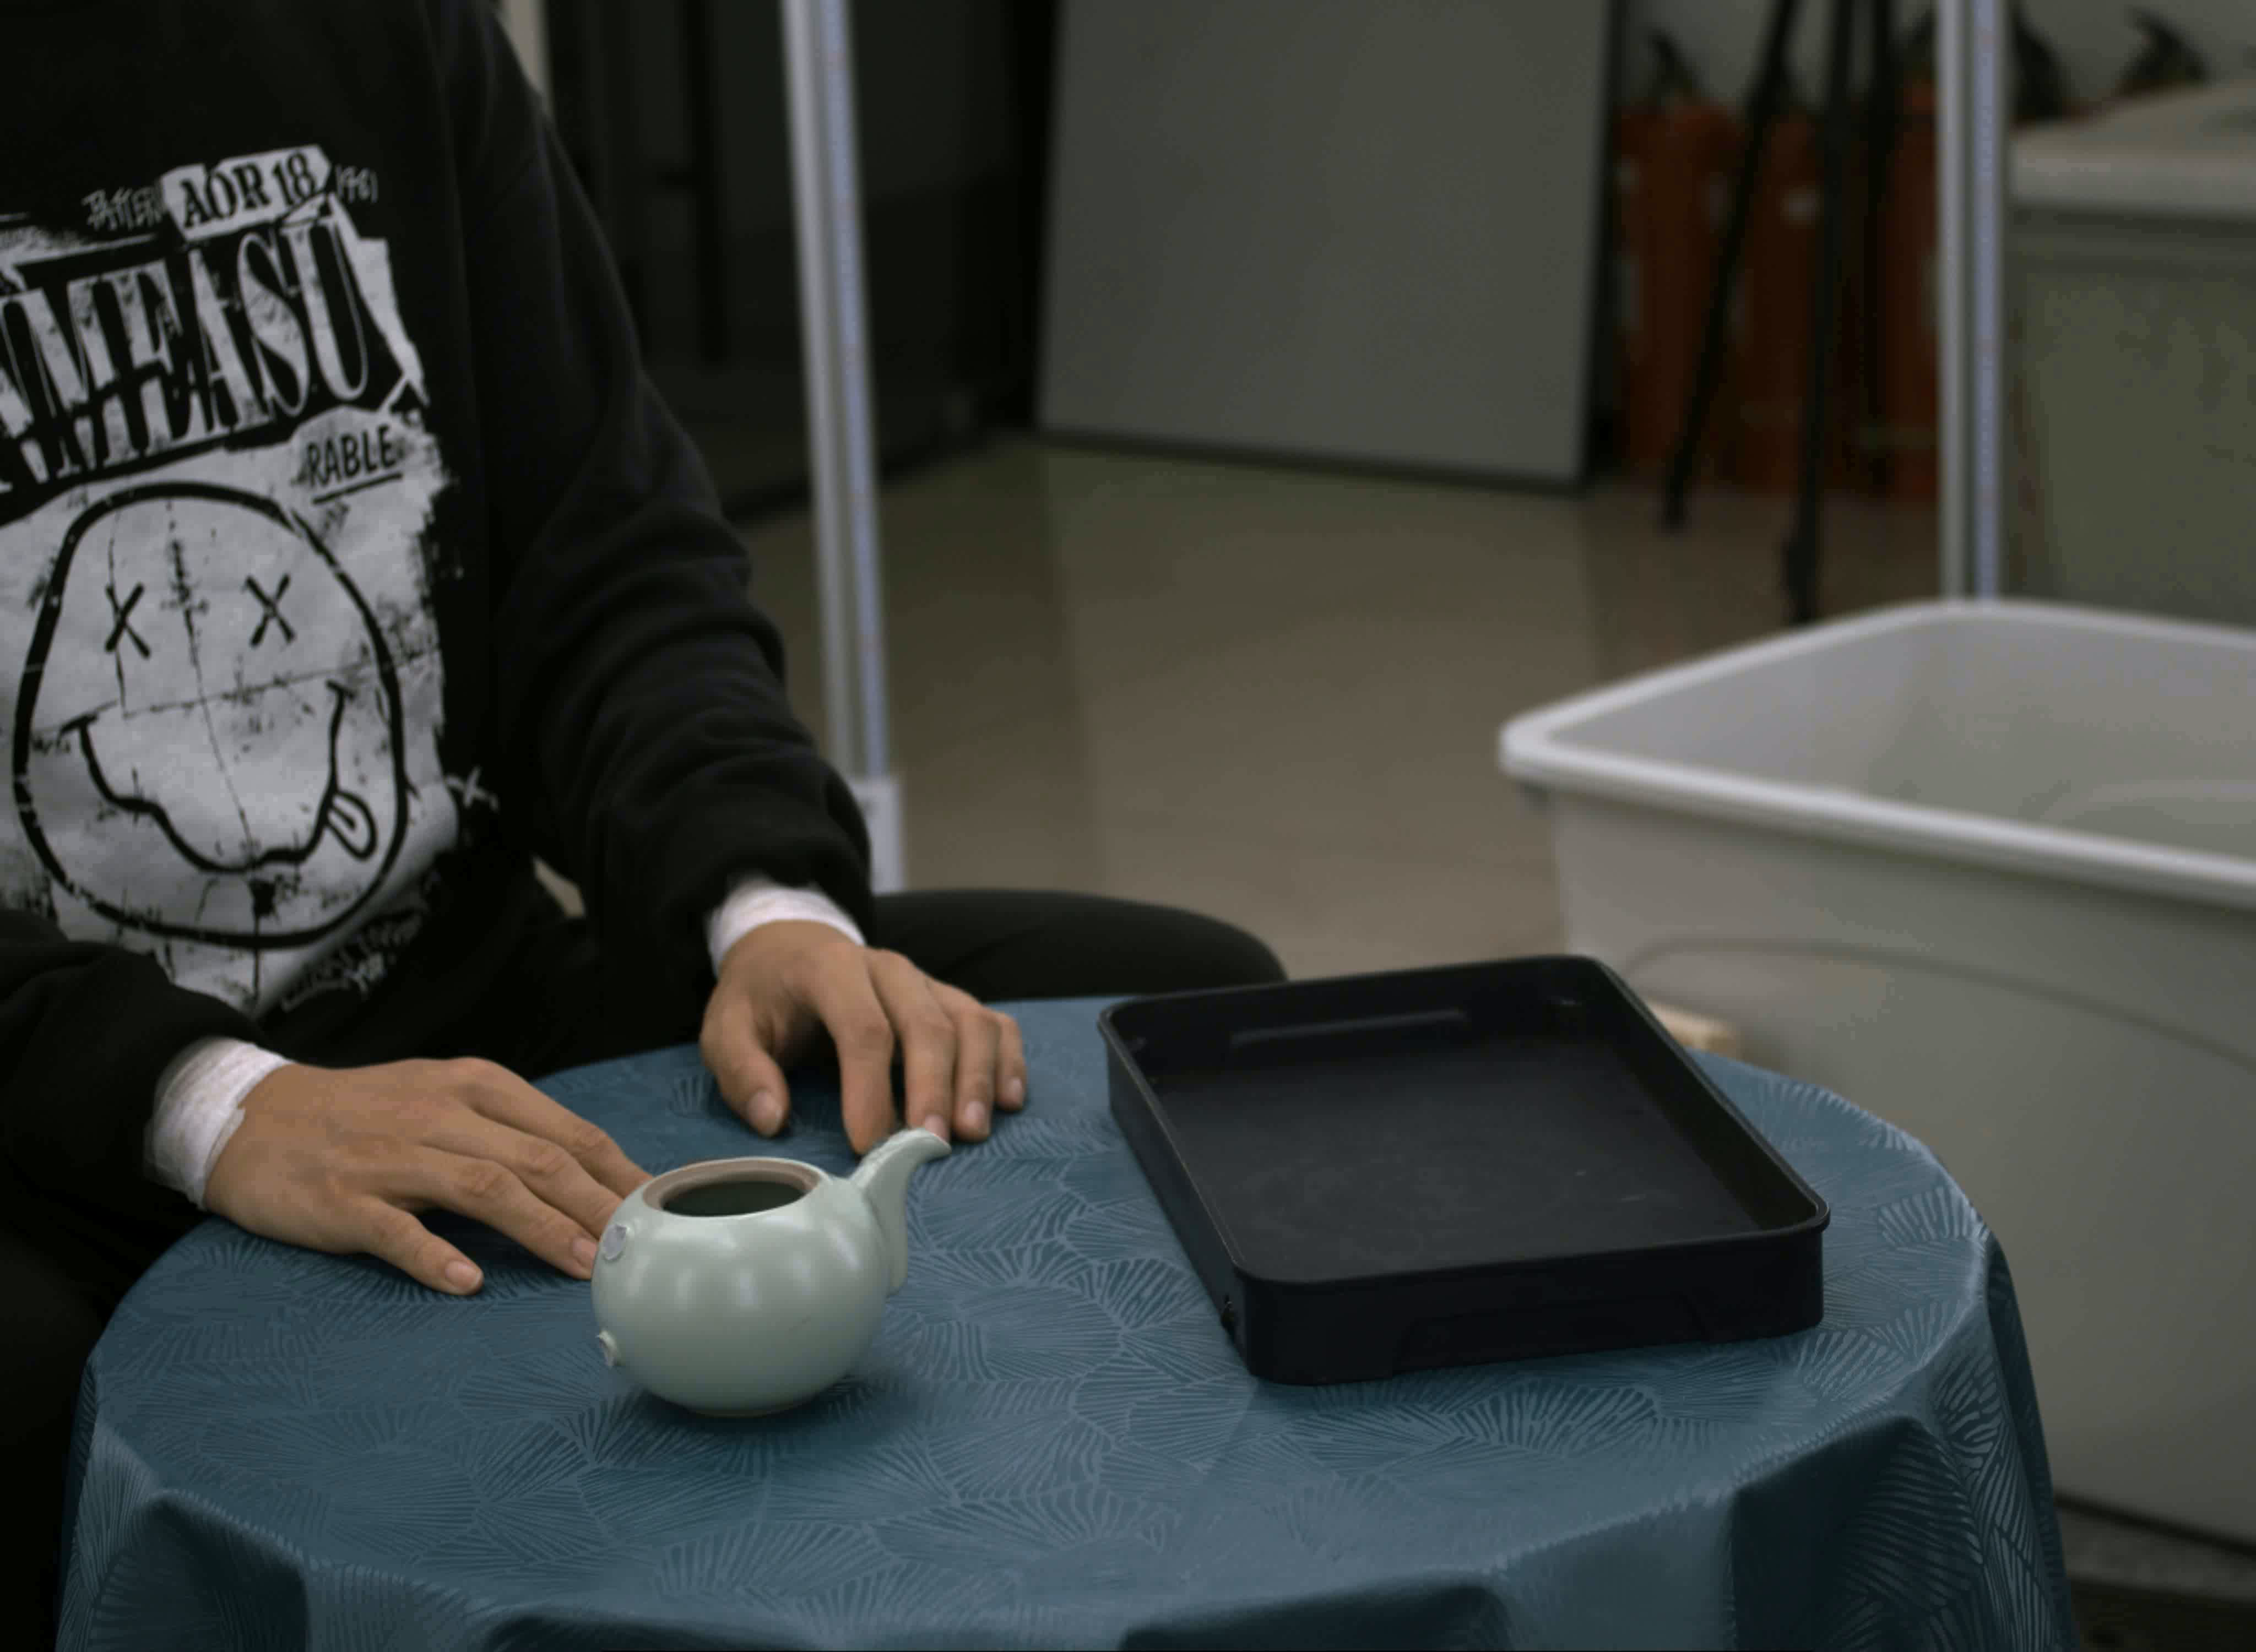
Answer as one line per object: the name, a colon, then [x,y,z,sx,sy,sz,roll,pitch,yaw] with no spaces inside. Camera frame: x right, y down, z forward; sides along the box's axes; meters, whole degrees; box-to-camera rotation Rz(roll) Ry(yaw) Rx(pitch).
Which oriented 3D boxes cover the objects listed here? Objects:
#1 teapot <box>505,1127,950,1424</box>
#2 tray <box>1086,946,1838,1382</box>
teapot: [-0.116,0.135,1.601,0.141,0.075,0.089,-8,14,-23]
tray: [0.100,0.104,1.739,0.181,0.037,0.320,-7,14,-9]
